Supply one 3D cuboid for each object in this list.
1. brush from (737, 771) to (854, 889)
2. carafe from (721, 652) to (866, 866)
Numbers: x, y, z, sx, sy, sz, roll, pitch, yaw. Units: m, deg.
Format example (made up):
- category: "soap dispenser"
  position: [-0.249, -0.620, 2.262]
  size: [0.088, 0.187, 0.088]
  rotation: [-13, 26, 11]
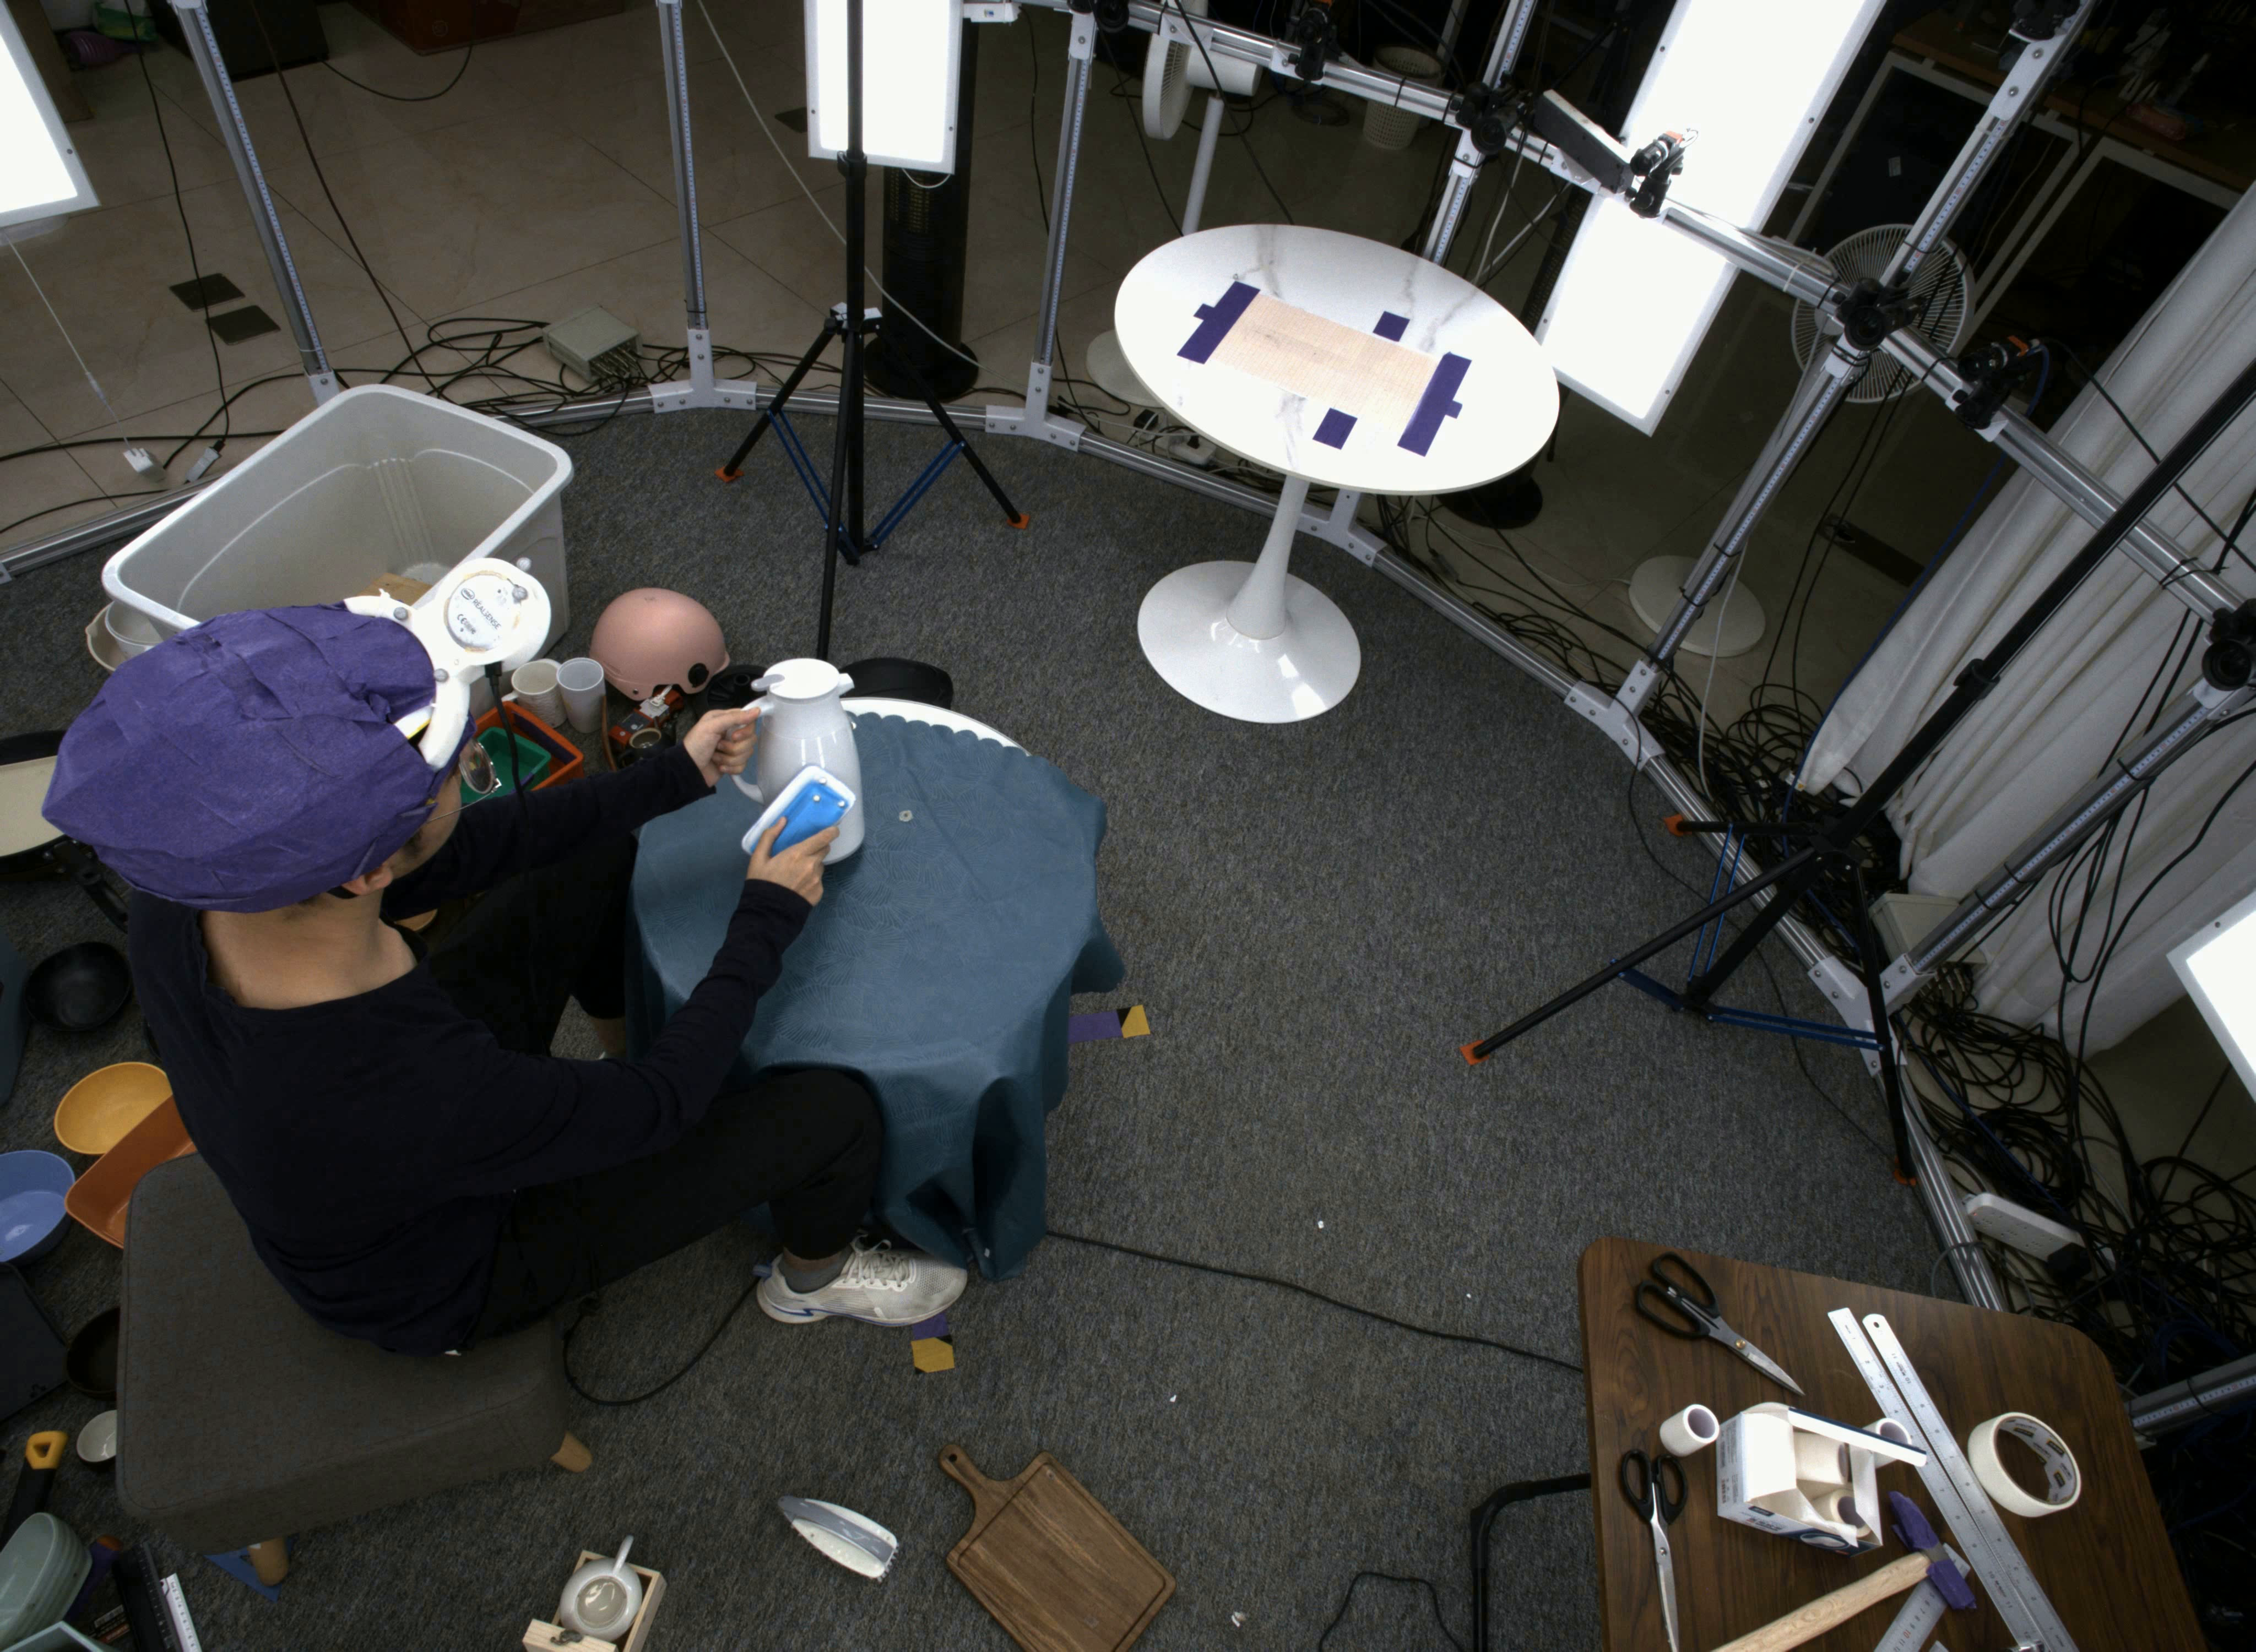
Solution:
- category: "brush"
  position: [-0.401, 0.008, 1.567]
  size: [0.144, 0.086, 0.054]
  rotation: [-48, 29, 1]
- category: "carafe"
  position: [-0.418, -0.084, 1.610]
  size: [0.169, 0.256, 0.128]
  rotation: [-20, 44, -28]
